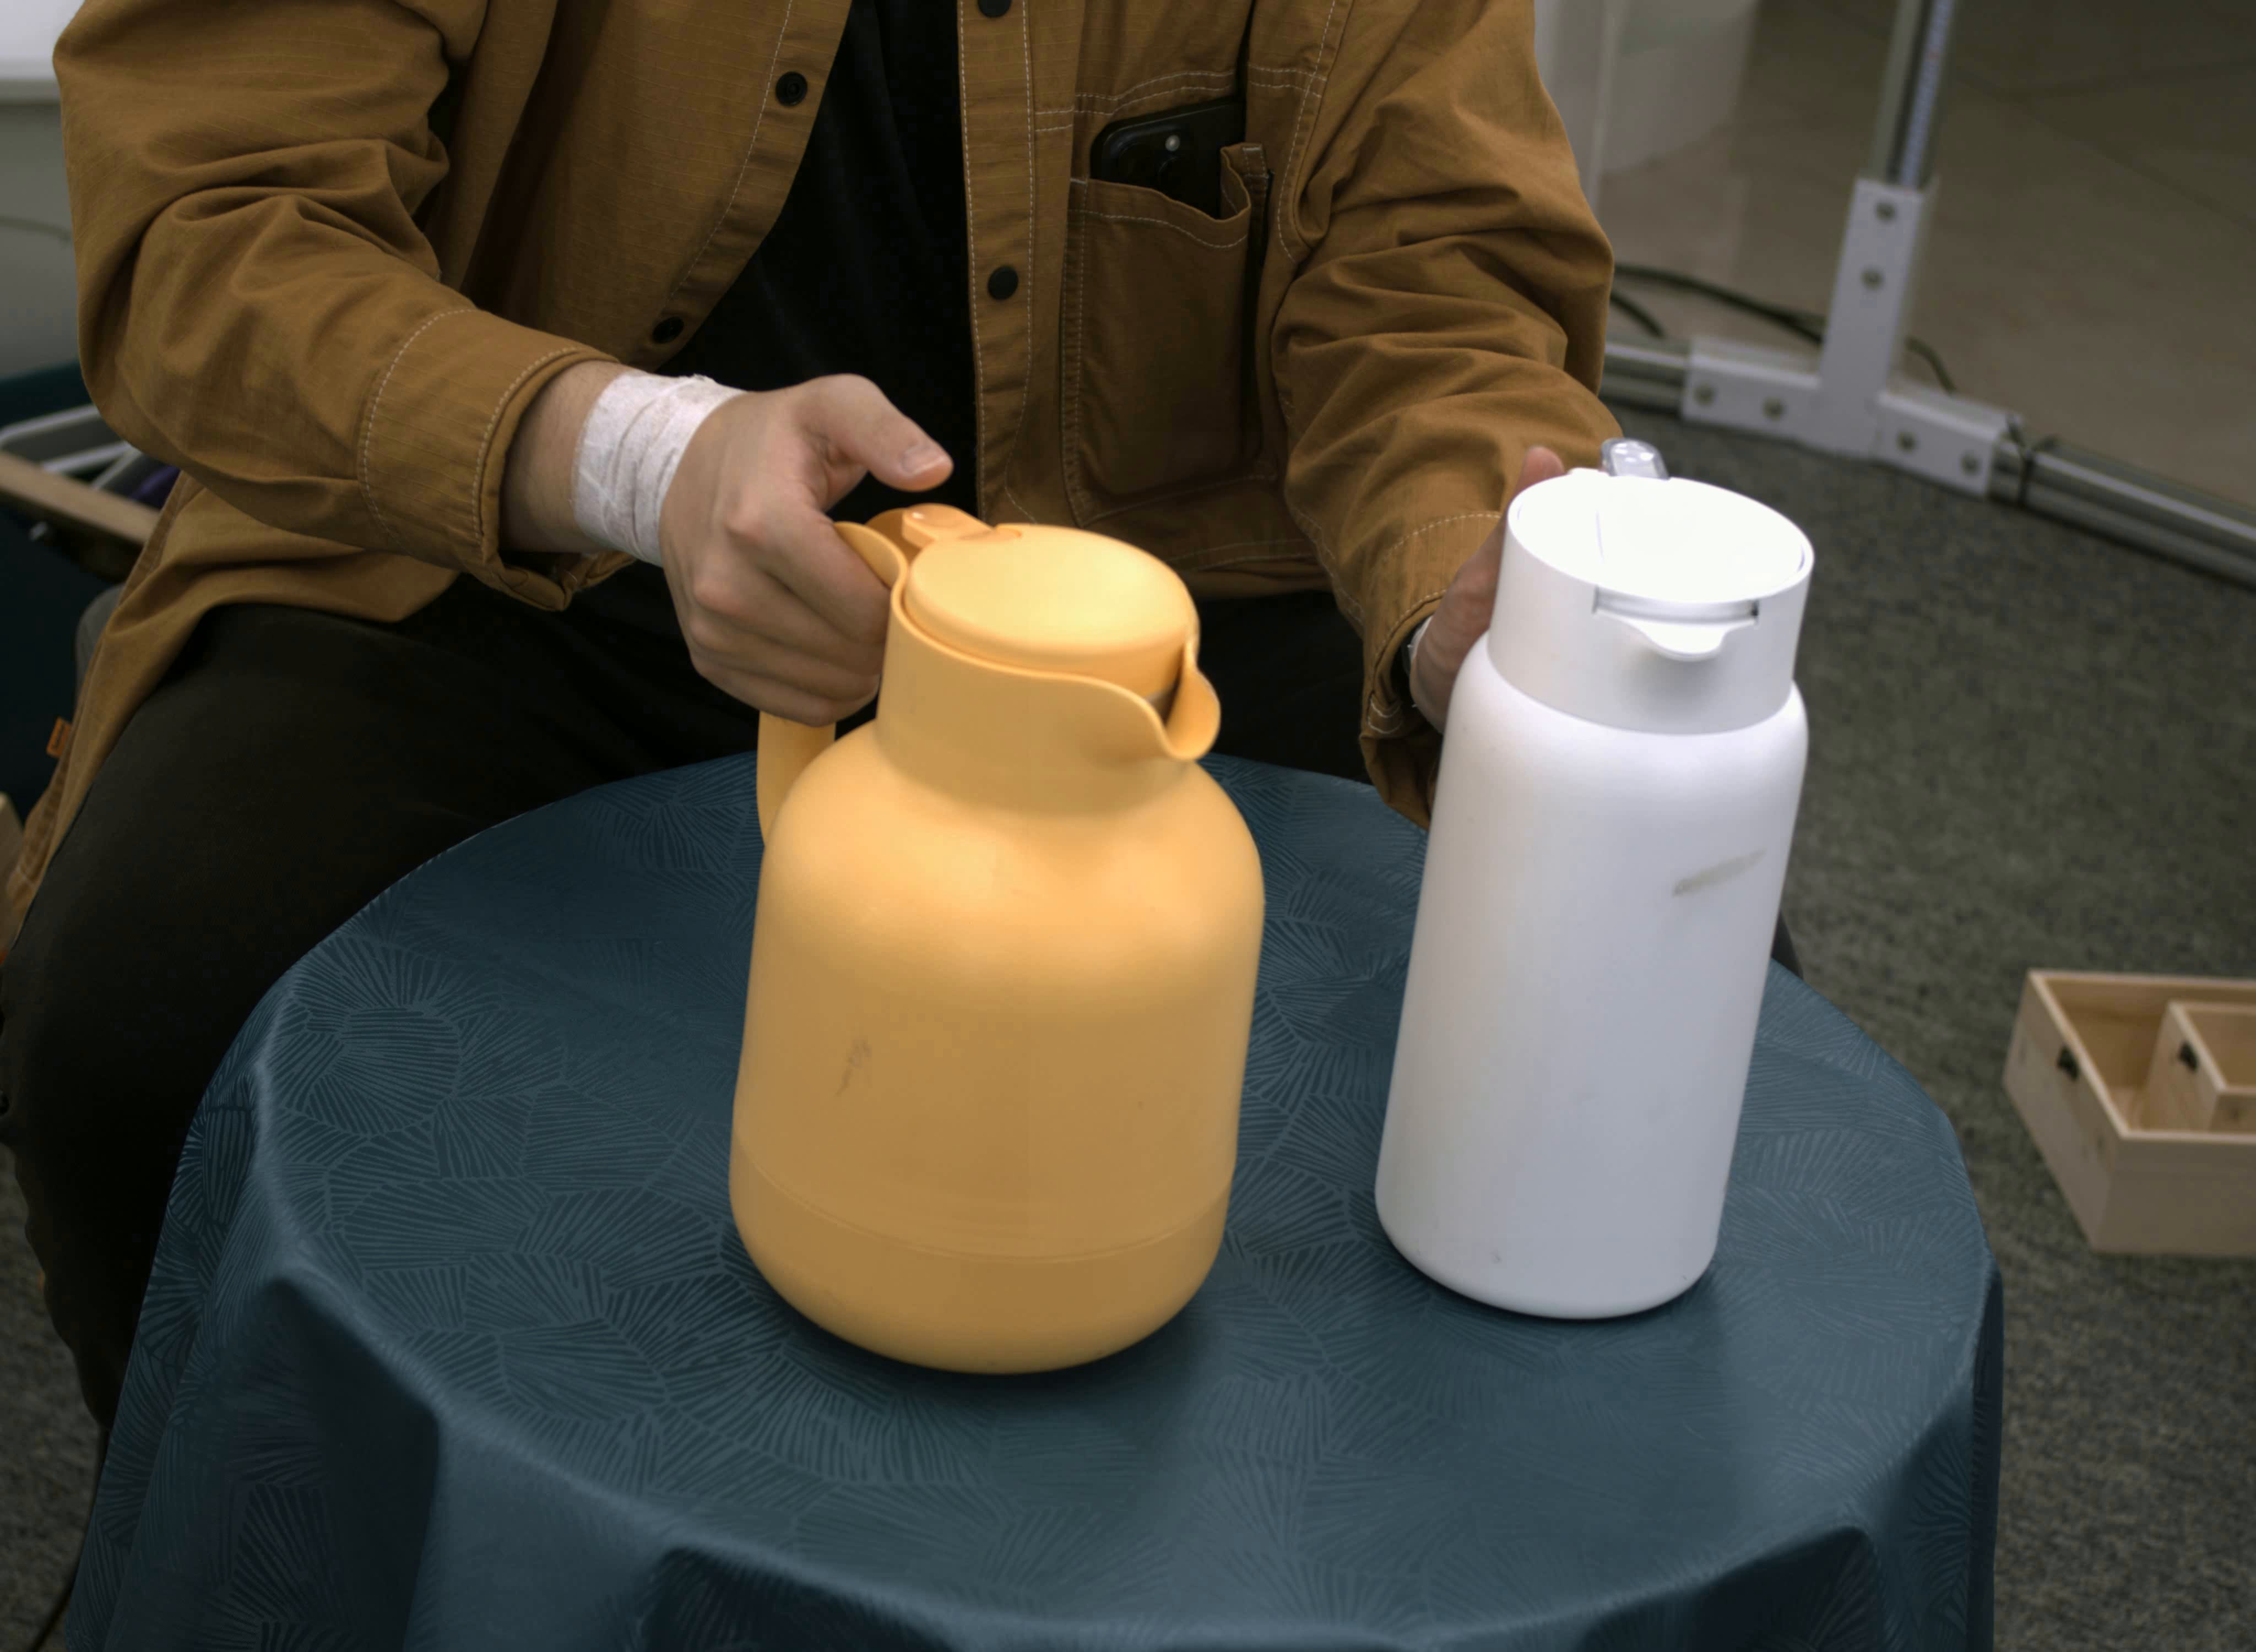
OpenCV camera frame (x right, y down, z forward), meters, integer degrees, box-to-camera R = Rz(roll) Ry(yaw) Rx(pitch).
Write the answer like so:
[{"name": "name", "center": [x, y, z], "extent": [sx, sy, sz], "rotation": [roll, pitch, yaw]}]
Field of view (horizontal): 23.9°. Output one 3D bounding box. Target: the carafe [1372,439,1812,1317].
[{"name": "carafe", "center": [0.151, 0.014, 1.761], "extent": [0.123, 0.268, 0.174], "rotation": [2, 27, -6]}]

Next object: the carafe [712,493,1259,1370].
[{"name": "carafe", "center": [-0.051, 0.024, 1.700], "extent": [0.162, 0.260, 0.204], "rotation": [-10, 32, -37]}]
